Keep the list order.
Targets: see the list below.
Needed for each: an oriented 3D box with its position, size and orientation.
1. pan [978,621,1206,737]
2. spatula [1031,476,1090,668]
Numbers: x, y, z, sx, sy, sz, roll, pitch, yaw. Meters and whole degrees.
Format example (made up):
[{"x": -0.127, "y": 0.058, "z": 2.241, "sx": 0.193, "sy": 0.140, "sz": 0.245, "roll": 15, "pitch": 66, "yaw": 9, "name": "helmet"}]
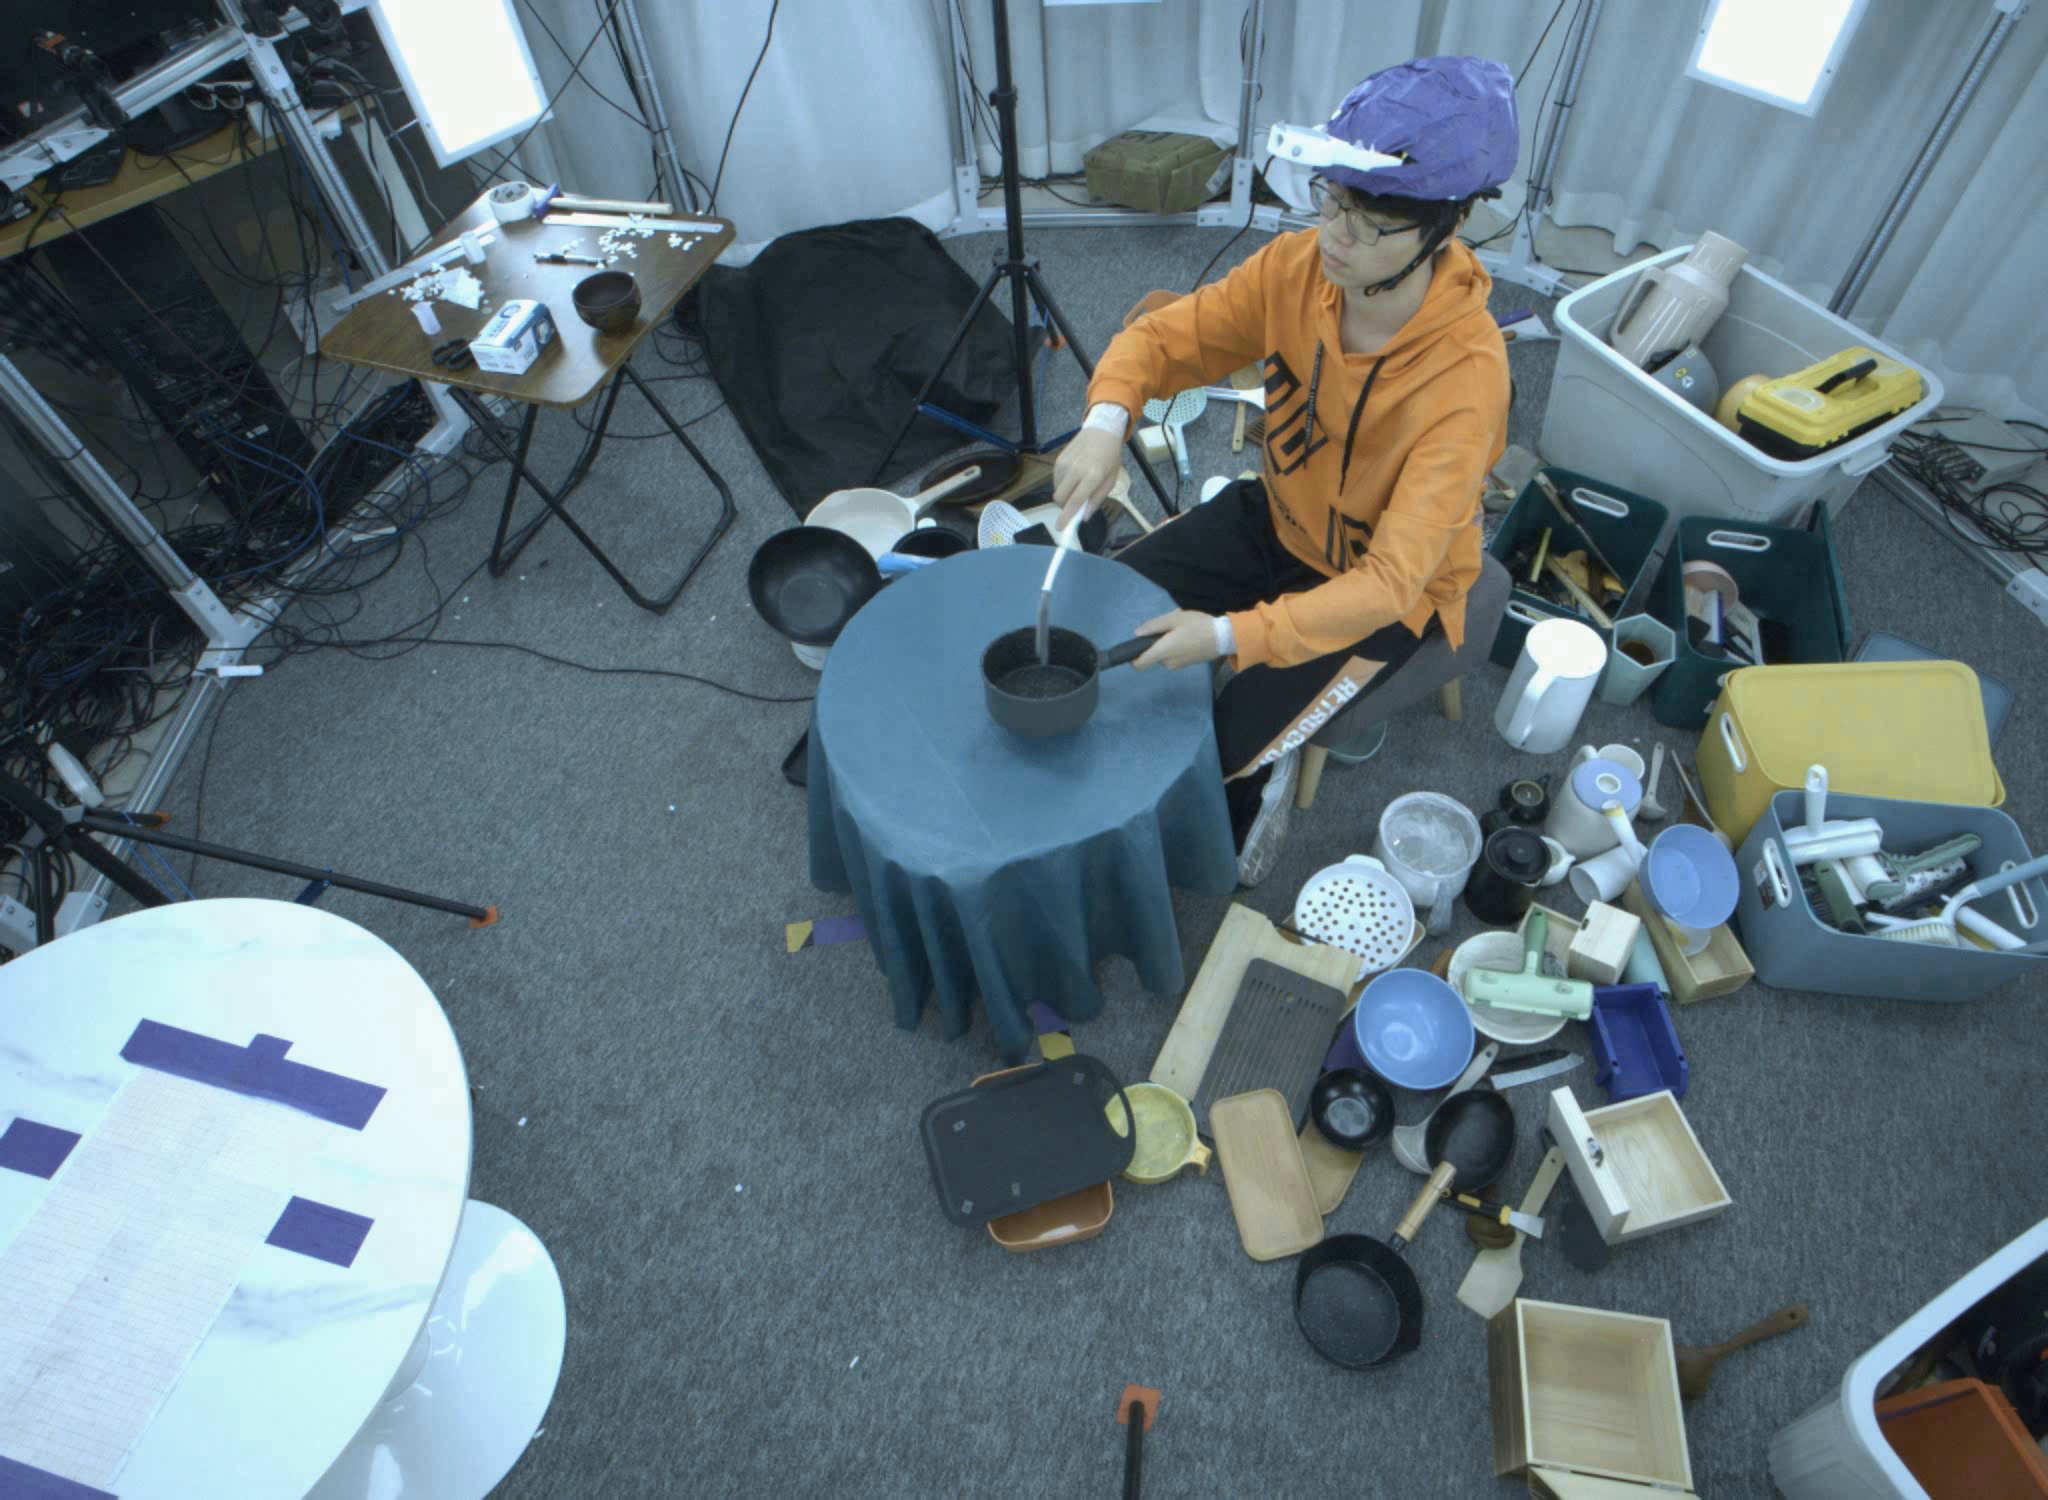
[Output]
[{"x": 0.100, "y": -0.117, "z": 1.765, "sx": 0.330, "sy": 0.087, "sz": 0.169, "roll": -12, "pitch": 46, "yaw": -8, "name": "pan"}, {"x": 0.045, "y": -0.258, "z": 1.757, "sx": 0.032, "sy": 0.059, "sz": 0.287, "roll": 12, "pitch": 80, "yaw": 14, "name": "spatula"}]
